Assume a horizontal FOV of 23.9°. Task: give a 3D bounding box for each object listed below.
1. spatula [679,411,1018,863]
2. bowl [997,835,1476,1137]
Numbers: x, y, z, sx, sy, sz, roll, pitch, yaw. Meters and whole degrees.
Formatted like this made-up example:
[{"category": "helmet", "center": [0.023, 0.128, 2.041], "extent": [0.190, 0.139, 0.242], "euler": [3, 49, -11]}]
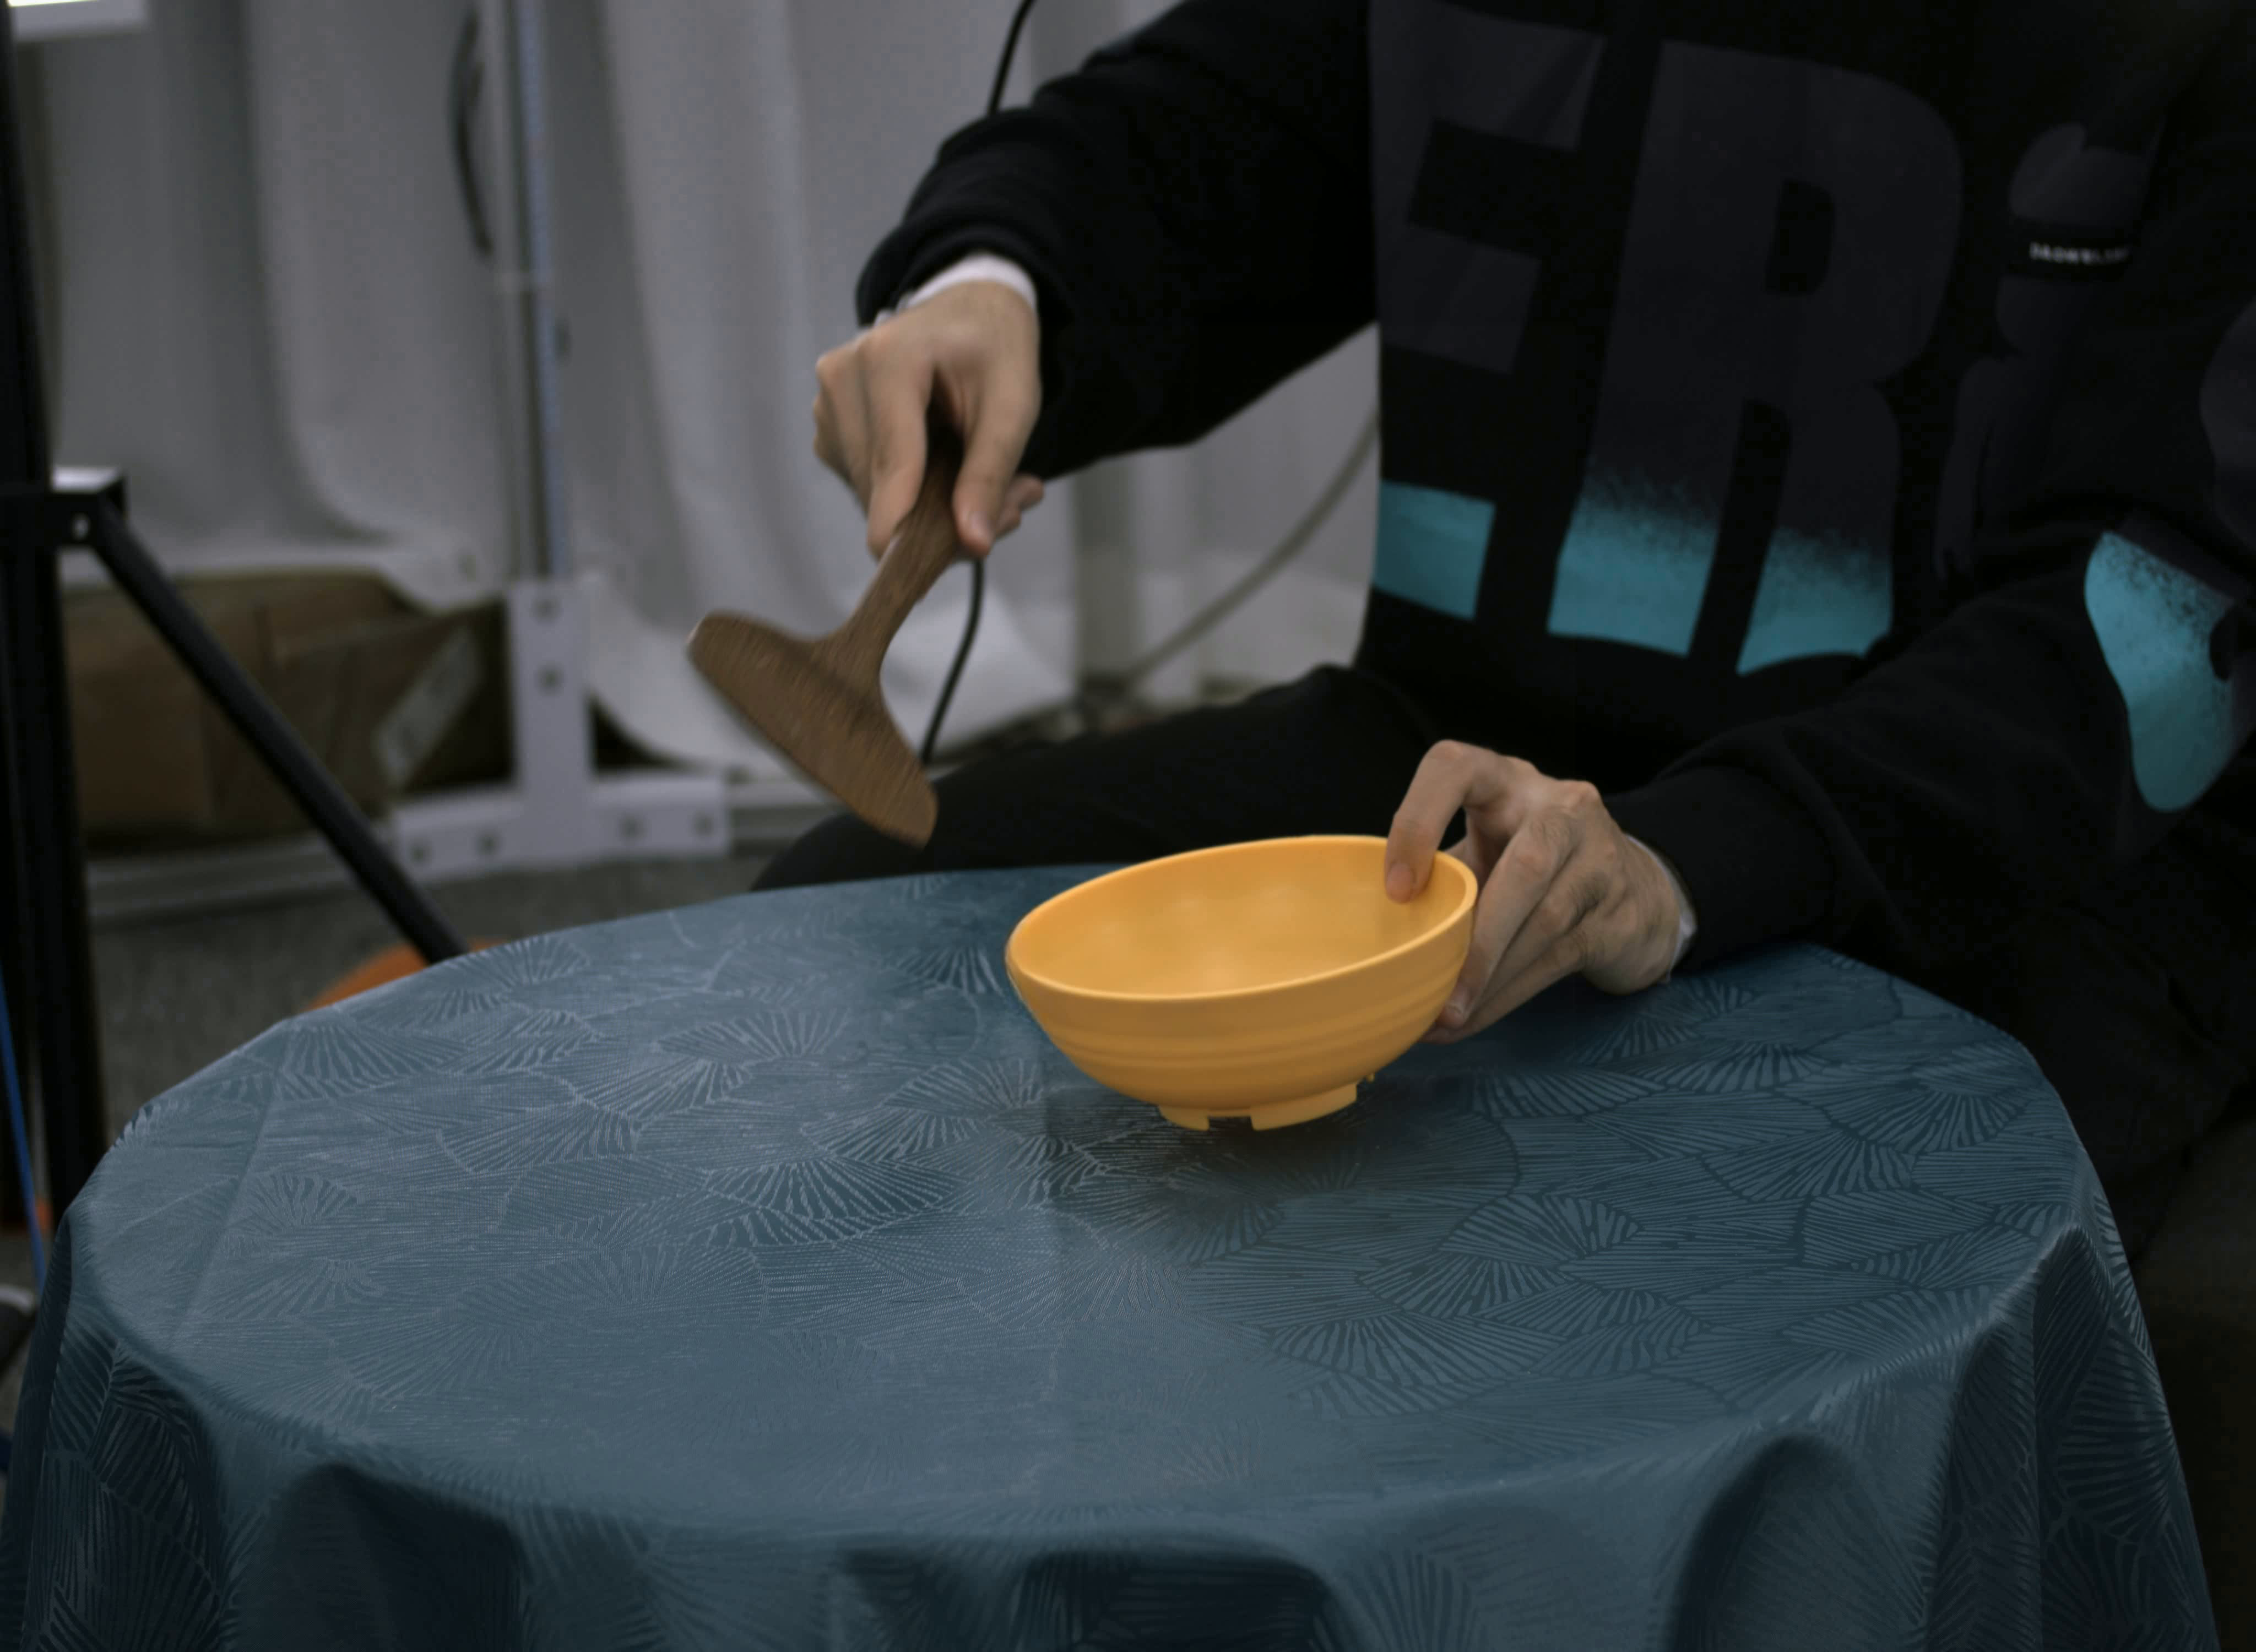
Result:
[{"category": "spatula", "center": [-0.076, -0.077, 1.732], "extent": [0.095, 0.016, 0.385], "euler": [40, 21, -7]}, {"category": "bowl", "center": [0.035, 0.055, 1.608], "extent": [0.145, 0.060, 0.146], "euler": [-6, 19, 0]}]
